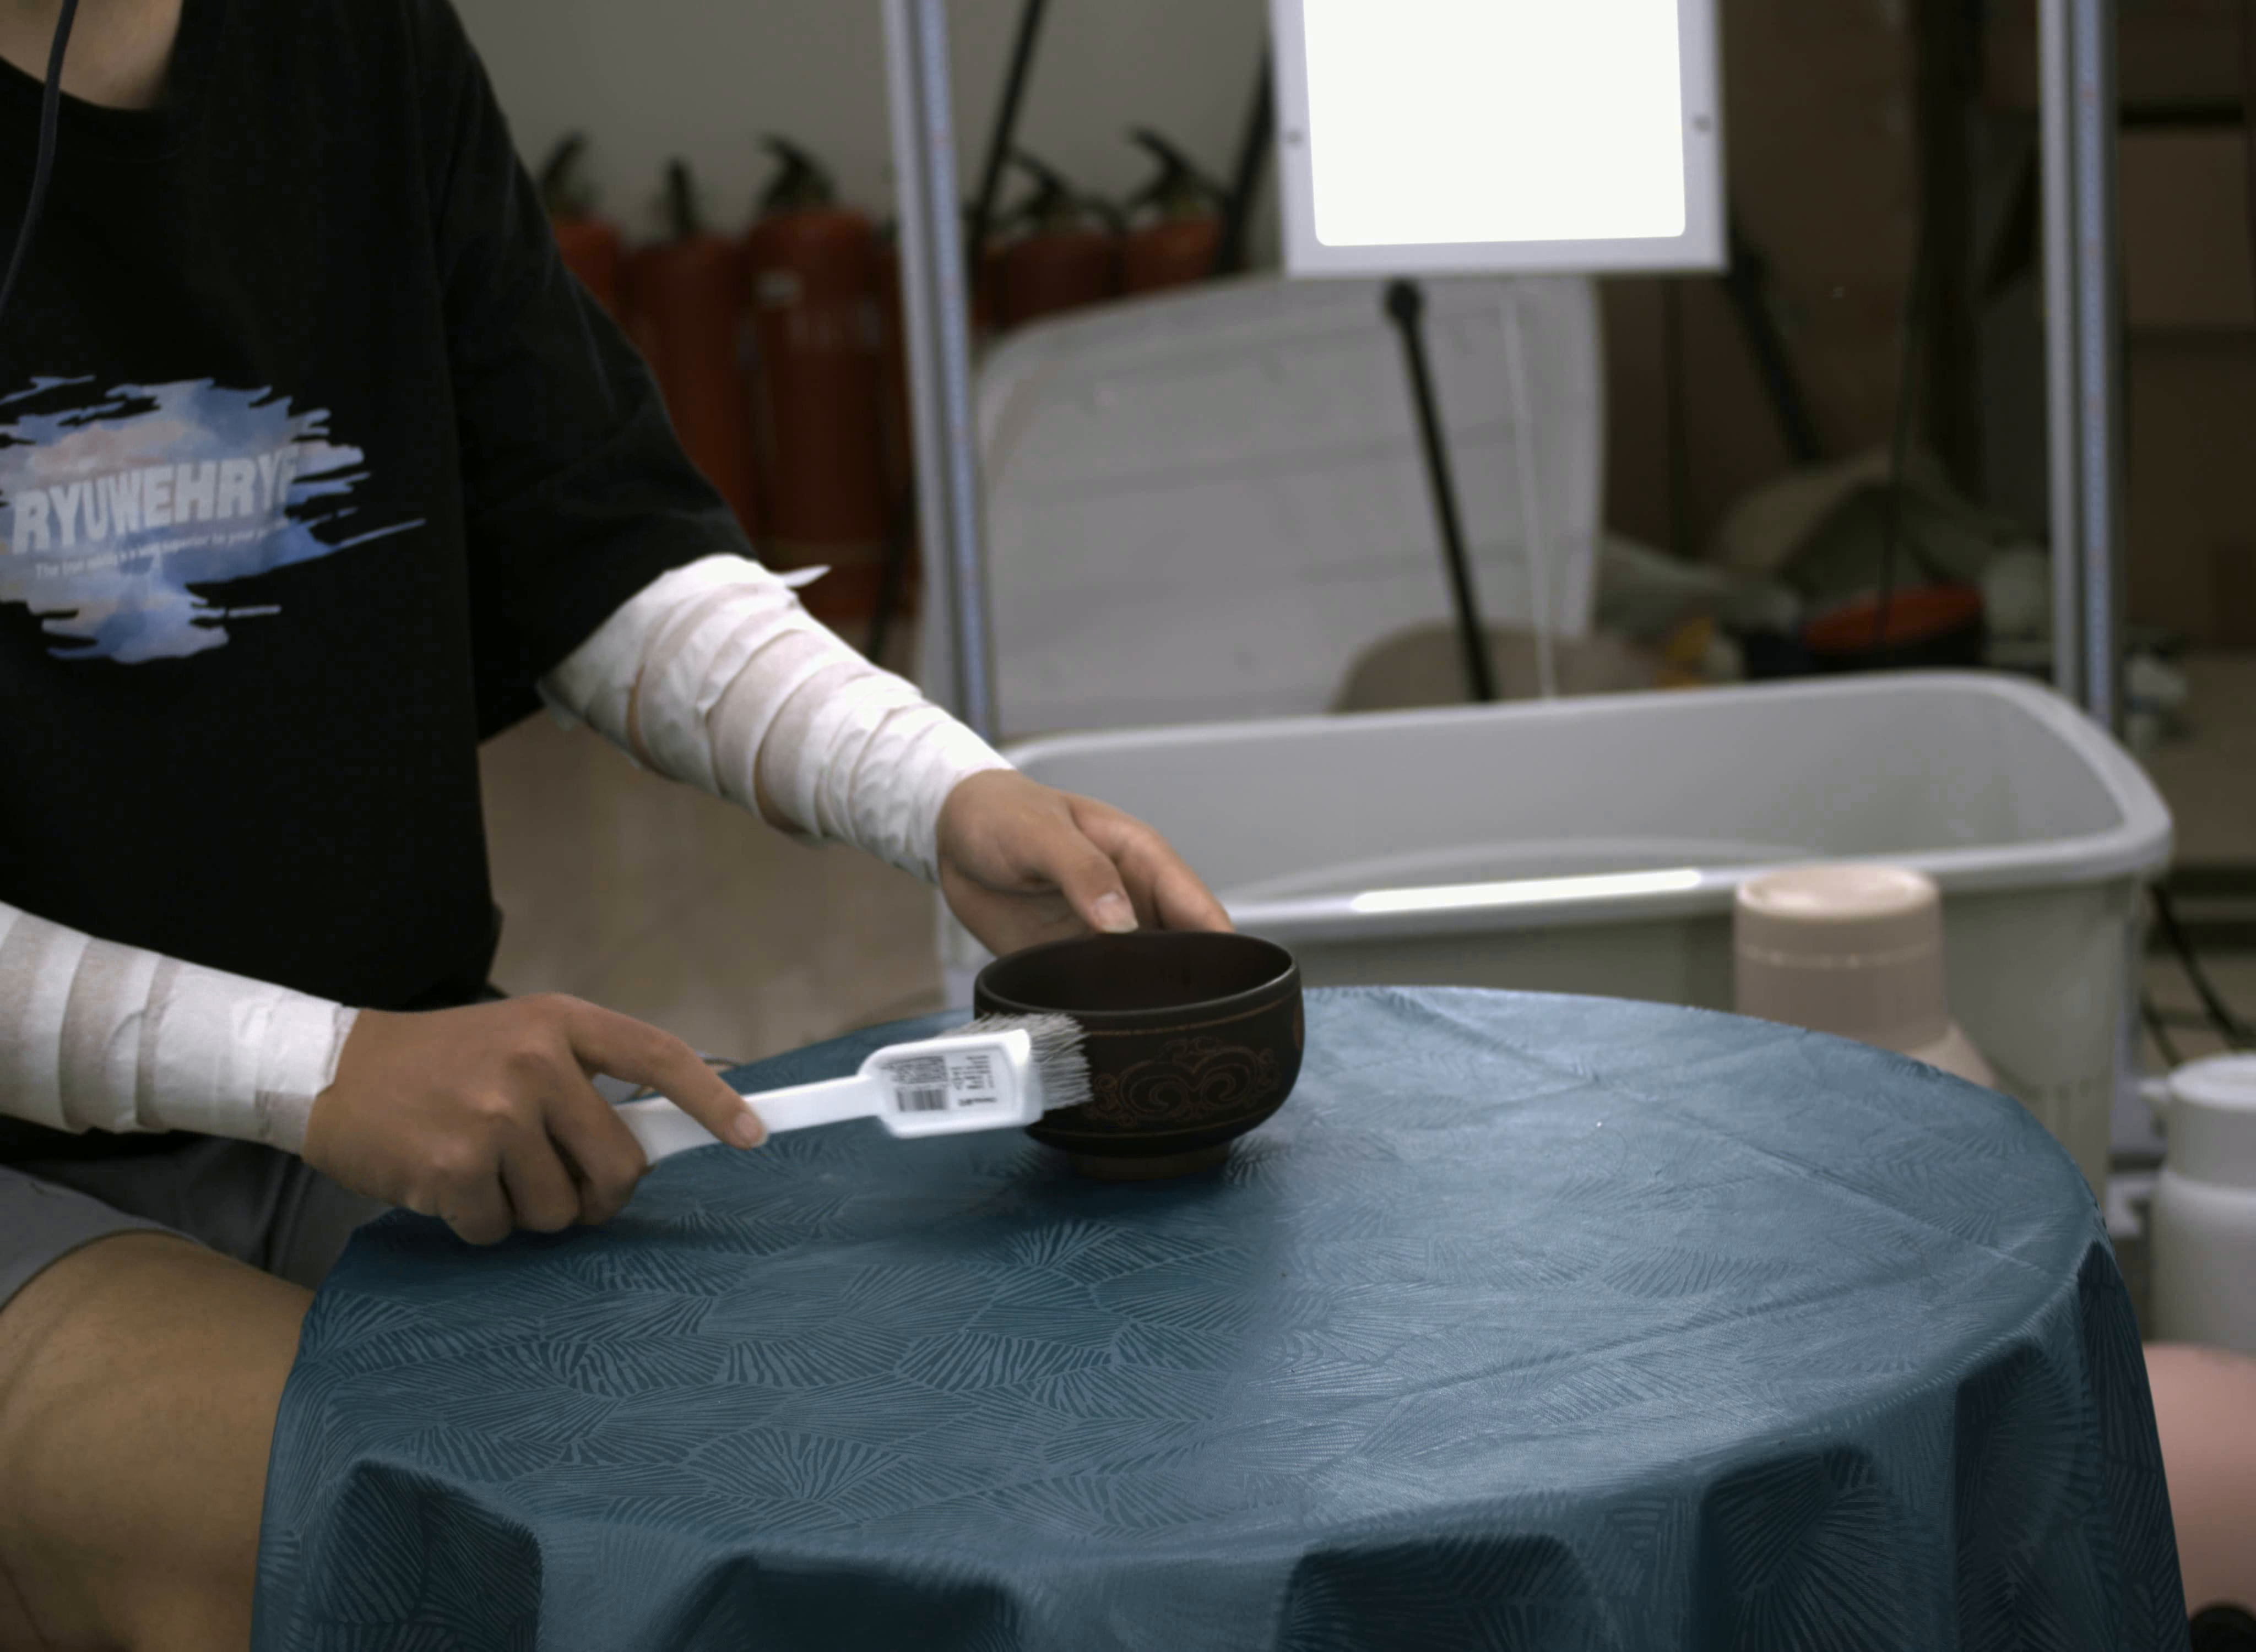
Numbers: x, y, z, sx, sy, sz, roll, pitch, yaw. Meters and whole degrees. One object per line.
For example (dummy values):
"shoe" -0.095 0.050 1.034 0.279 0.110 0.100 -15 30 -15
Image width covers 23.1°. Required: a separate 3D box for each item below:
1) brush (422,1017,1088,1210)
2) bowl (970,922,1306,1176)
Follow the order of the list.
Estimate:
"brush" -0.129 0.101 1.905 0.247 0.034 0.049 -11 0 23
"bowl" 0.006 0.081 1.927 0.118 0.070 0.118 -7 13 0
